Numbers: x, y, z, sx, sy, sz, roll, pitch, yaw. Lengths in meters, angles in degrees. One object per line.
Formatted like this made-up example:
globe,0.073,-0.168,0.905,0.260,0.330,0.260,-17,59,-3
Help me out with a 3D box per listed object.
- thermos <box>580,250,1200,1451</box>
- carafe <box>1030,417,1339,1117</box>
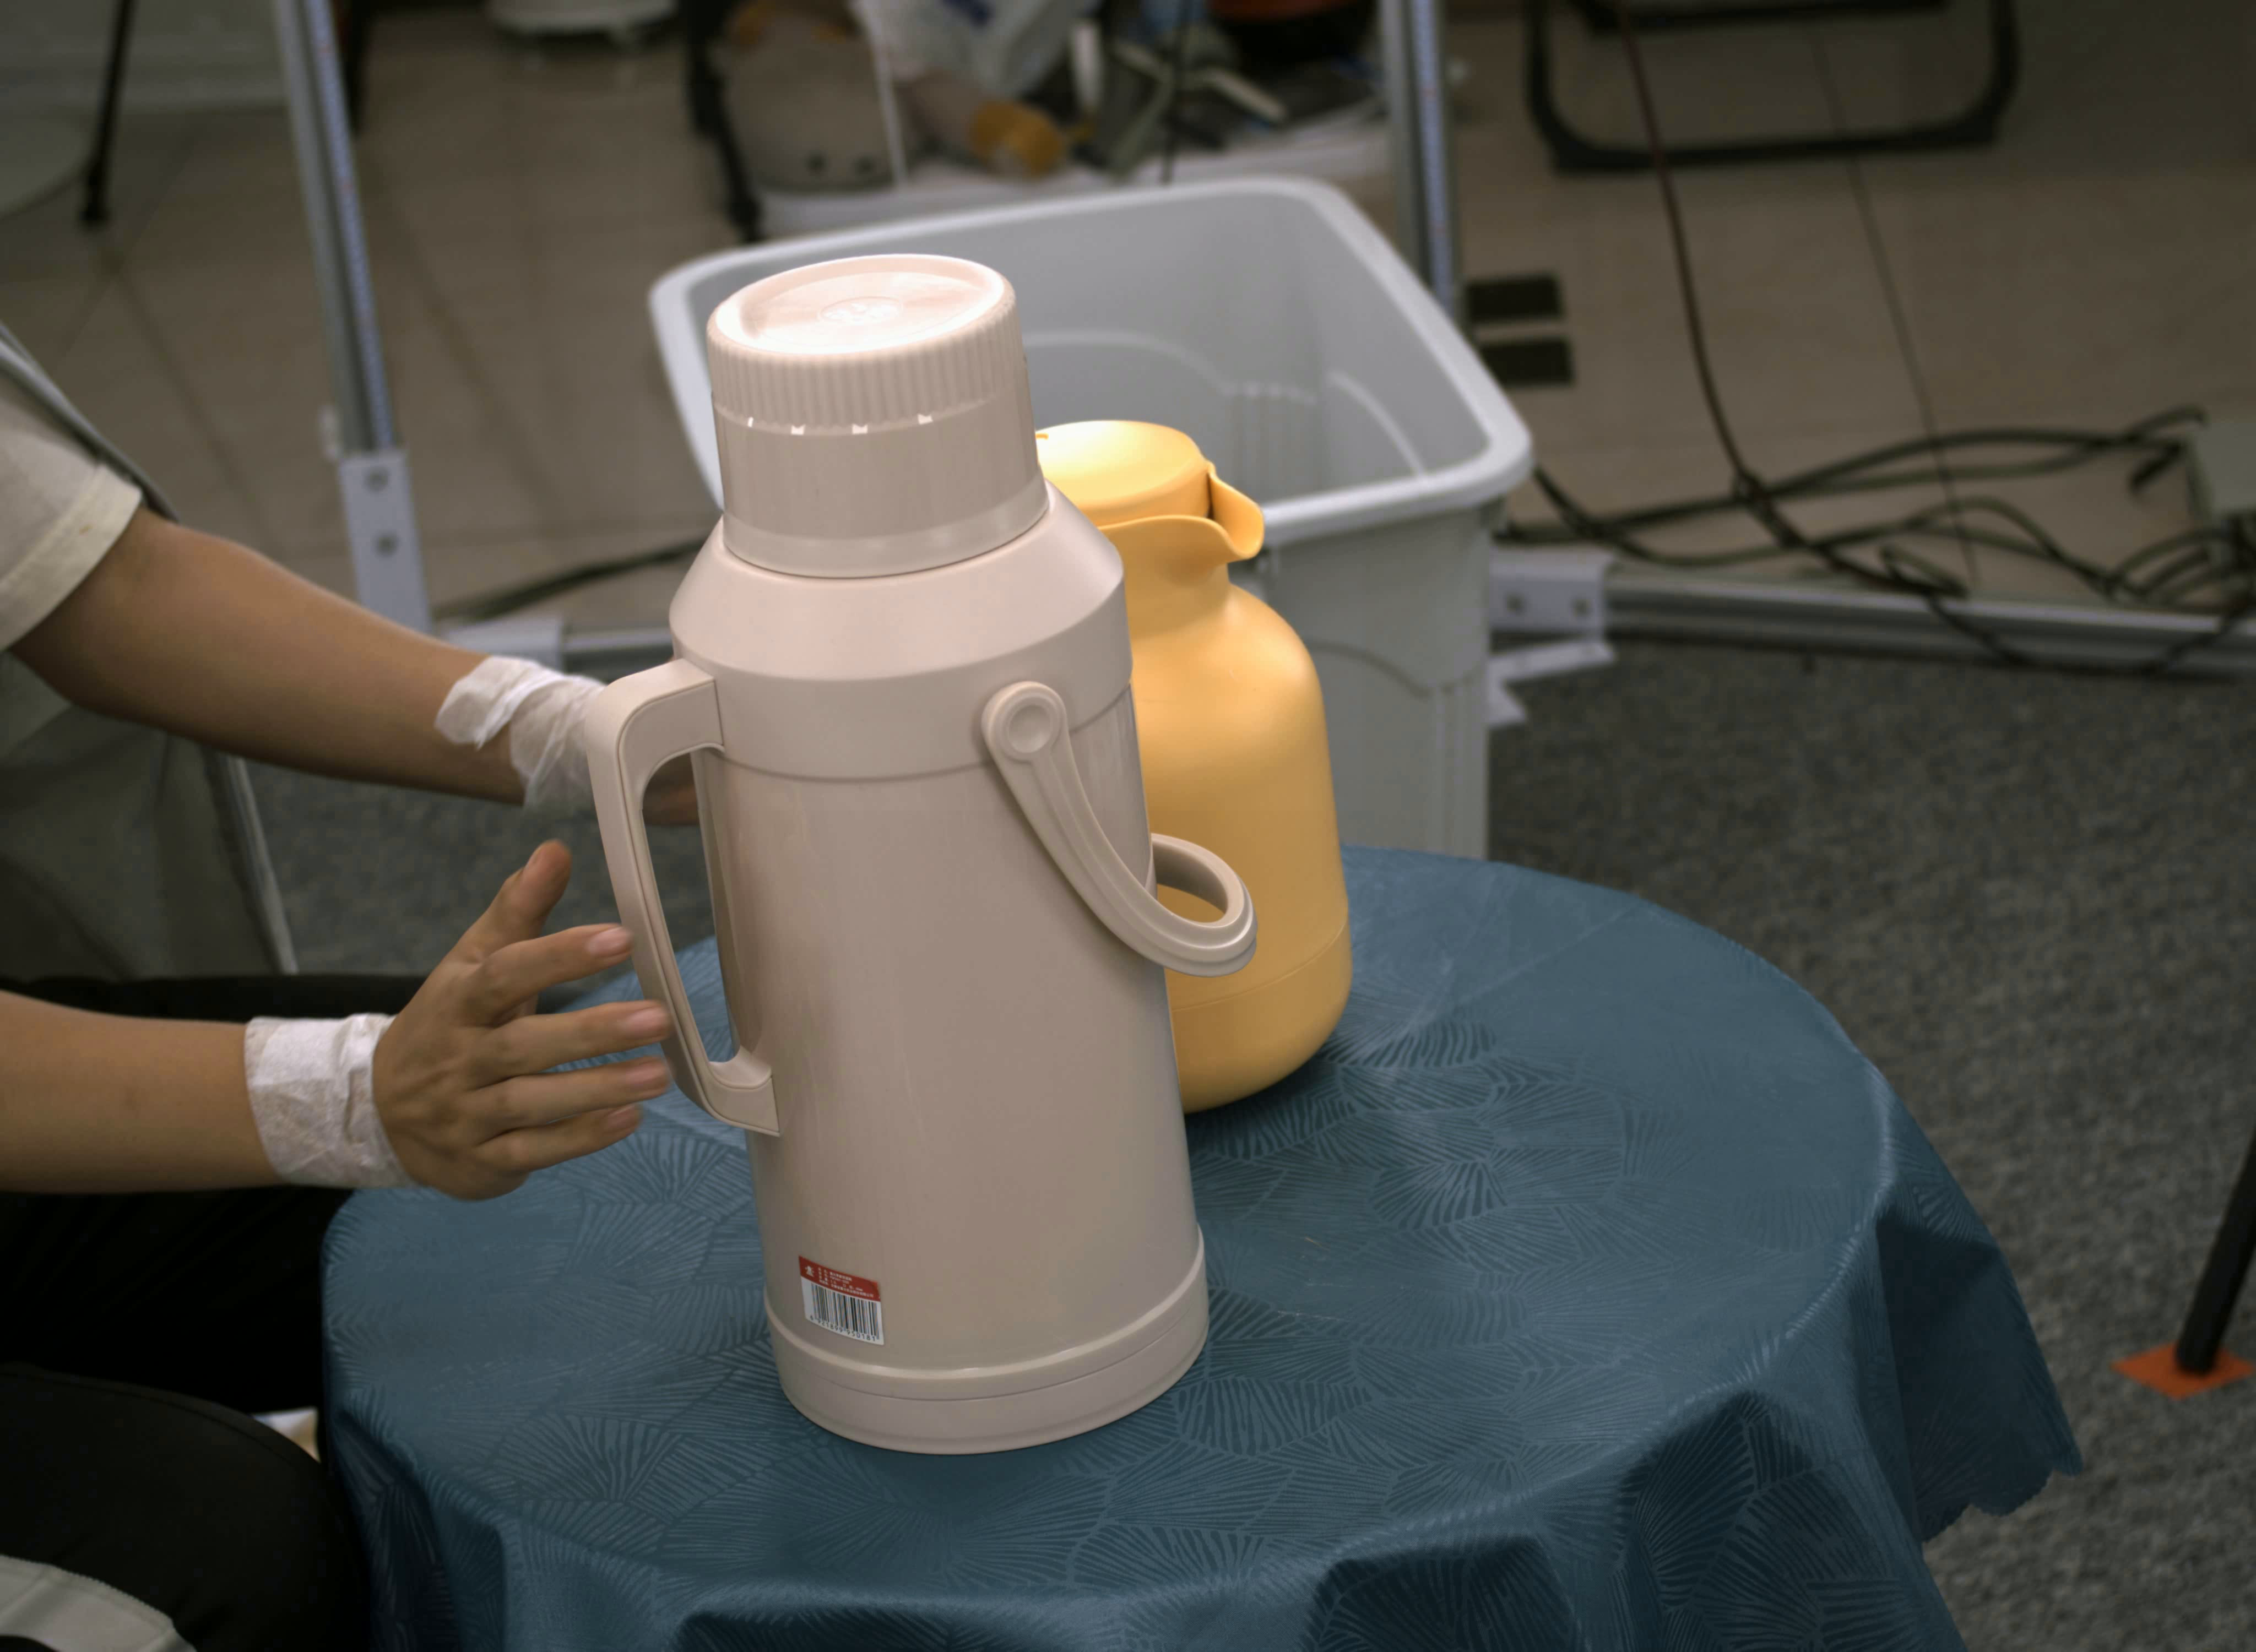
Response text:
thermos,-0.084,0.011,1.968,0.206,0.413,0.173,-19,29,-25
carafe,-0.019,-0.031,2.205,0.201,0.264,0.162,15,31,35
